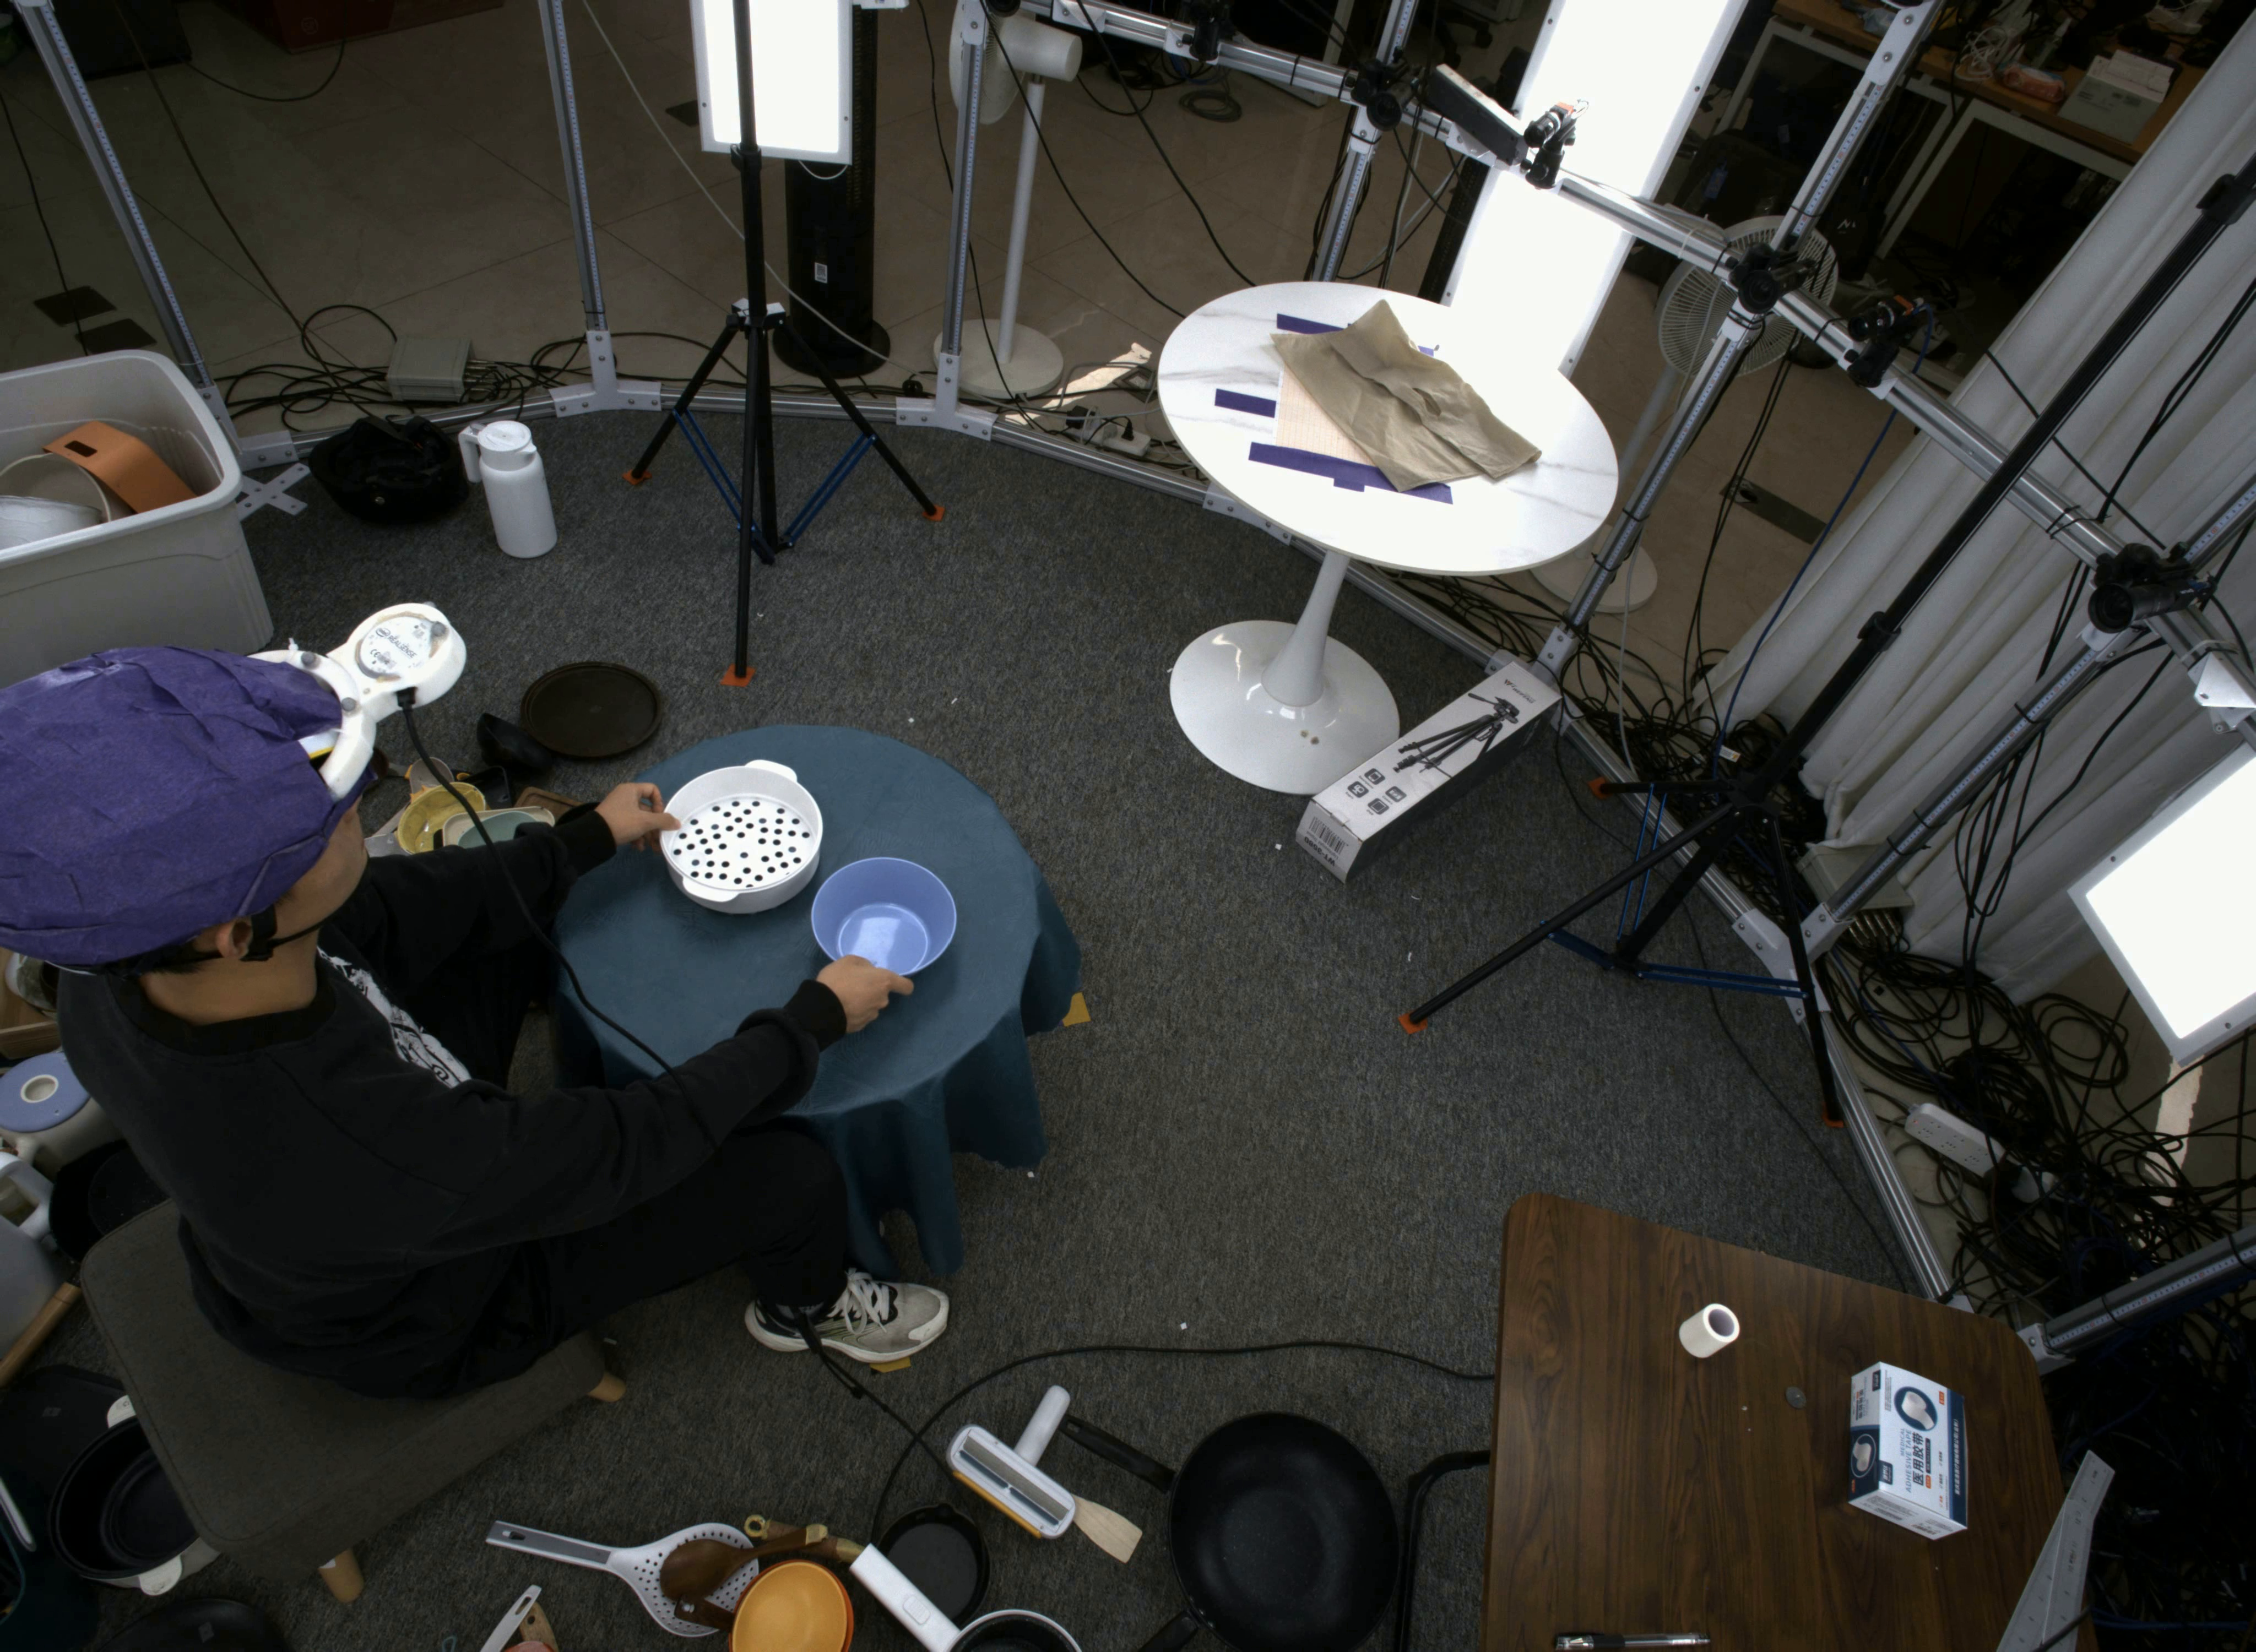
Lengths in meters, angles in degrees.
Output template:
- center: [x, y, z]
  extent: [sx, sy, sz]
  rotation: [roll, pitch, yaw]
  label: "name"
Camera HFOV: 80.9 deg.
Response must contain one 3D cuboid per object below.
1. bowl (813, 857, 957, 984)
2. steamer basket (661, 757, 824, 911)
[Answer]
- center: [-0.302, 0.127, 1.620]
  extent: [0.175, 0.072, 0.173]
  rotation: [7, 52, -8]
  label: "bowl"
- center: [-0.492, 0.014, 1.657]
  extent: [0.200, 0.070, 0.227]
  rotation: [16, 49, -2]
  label: "steamer basket"
